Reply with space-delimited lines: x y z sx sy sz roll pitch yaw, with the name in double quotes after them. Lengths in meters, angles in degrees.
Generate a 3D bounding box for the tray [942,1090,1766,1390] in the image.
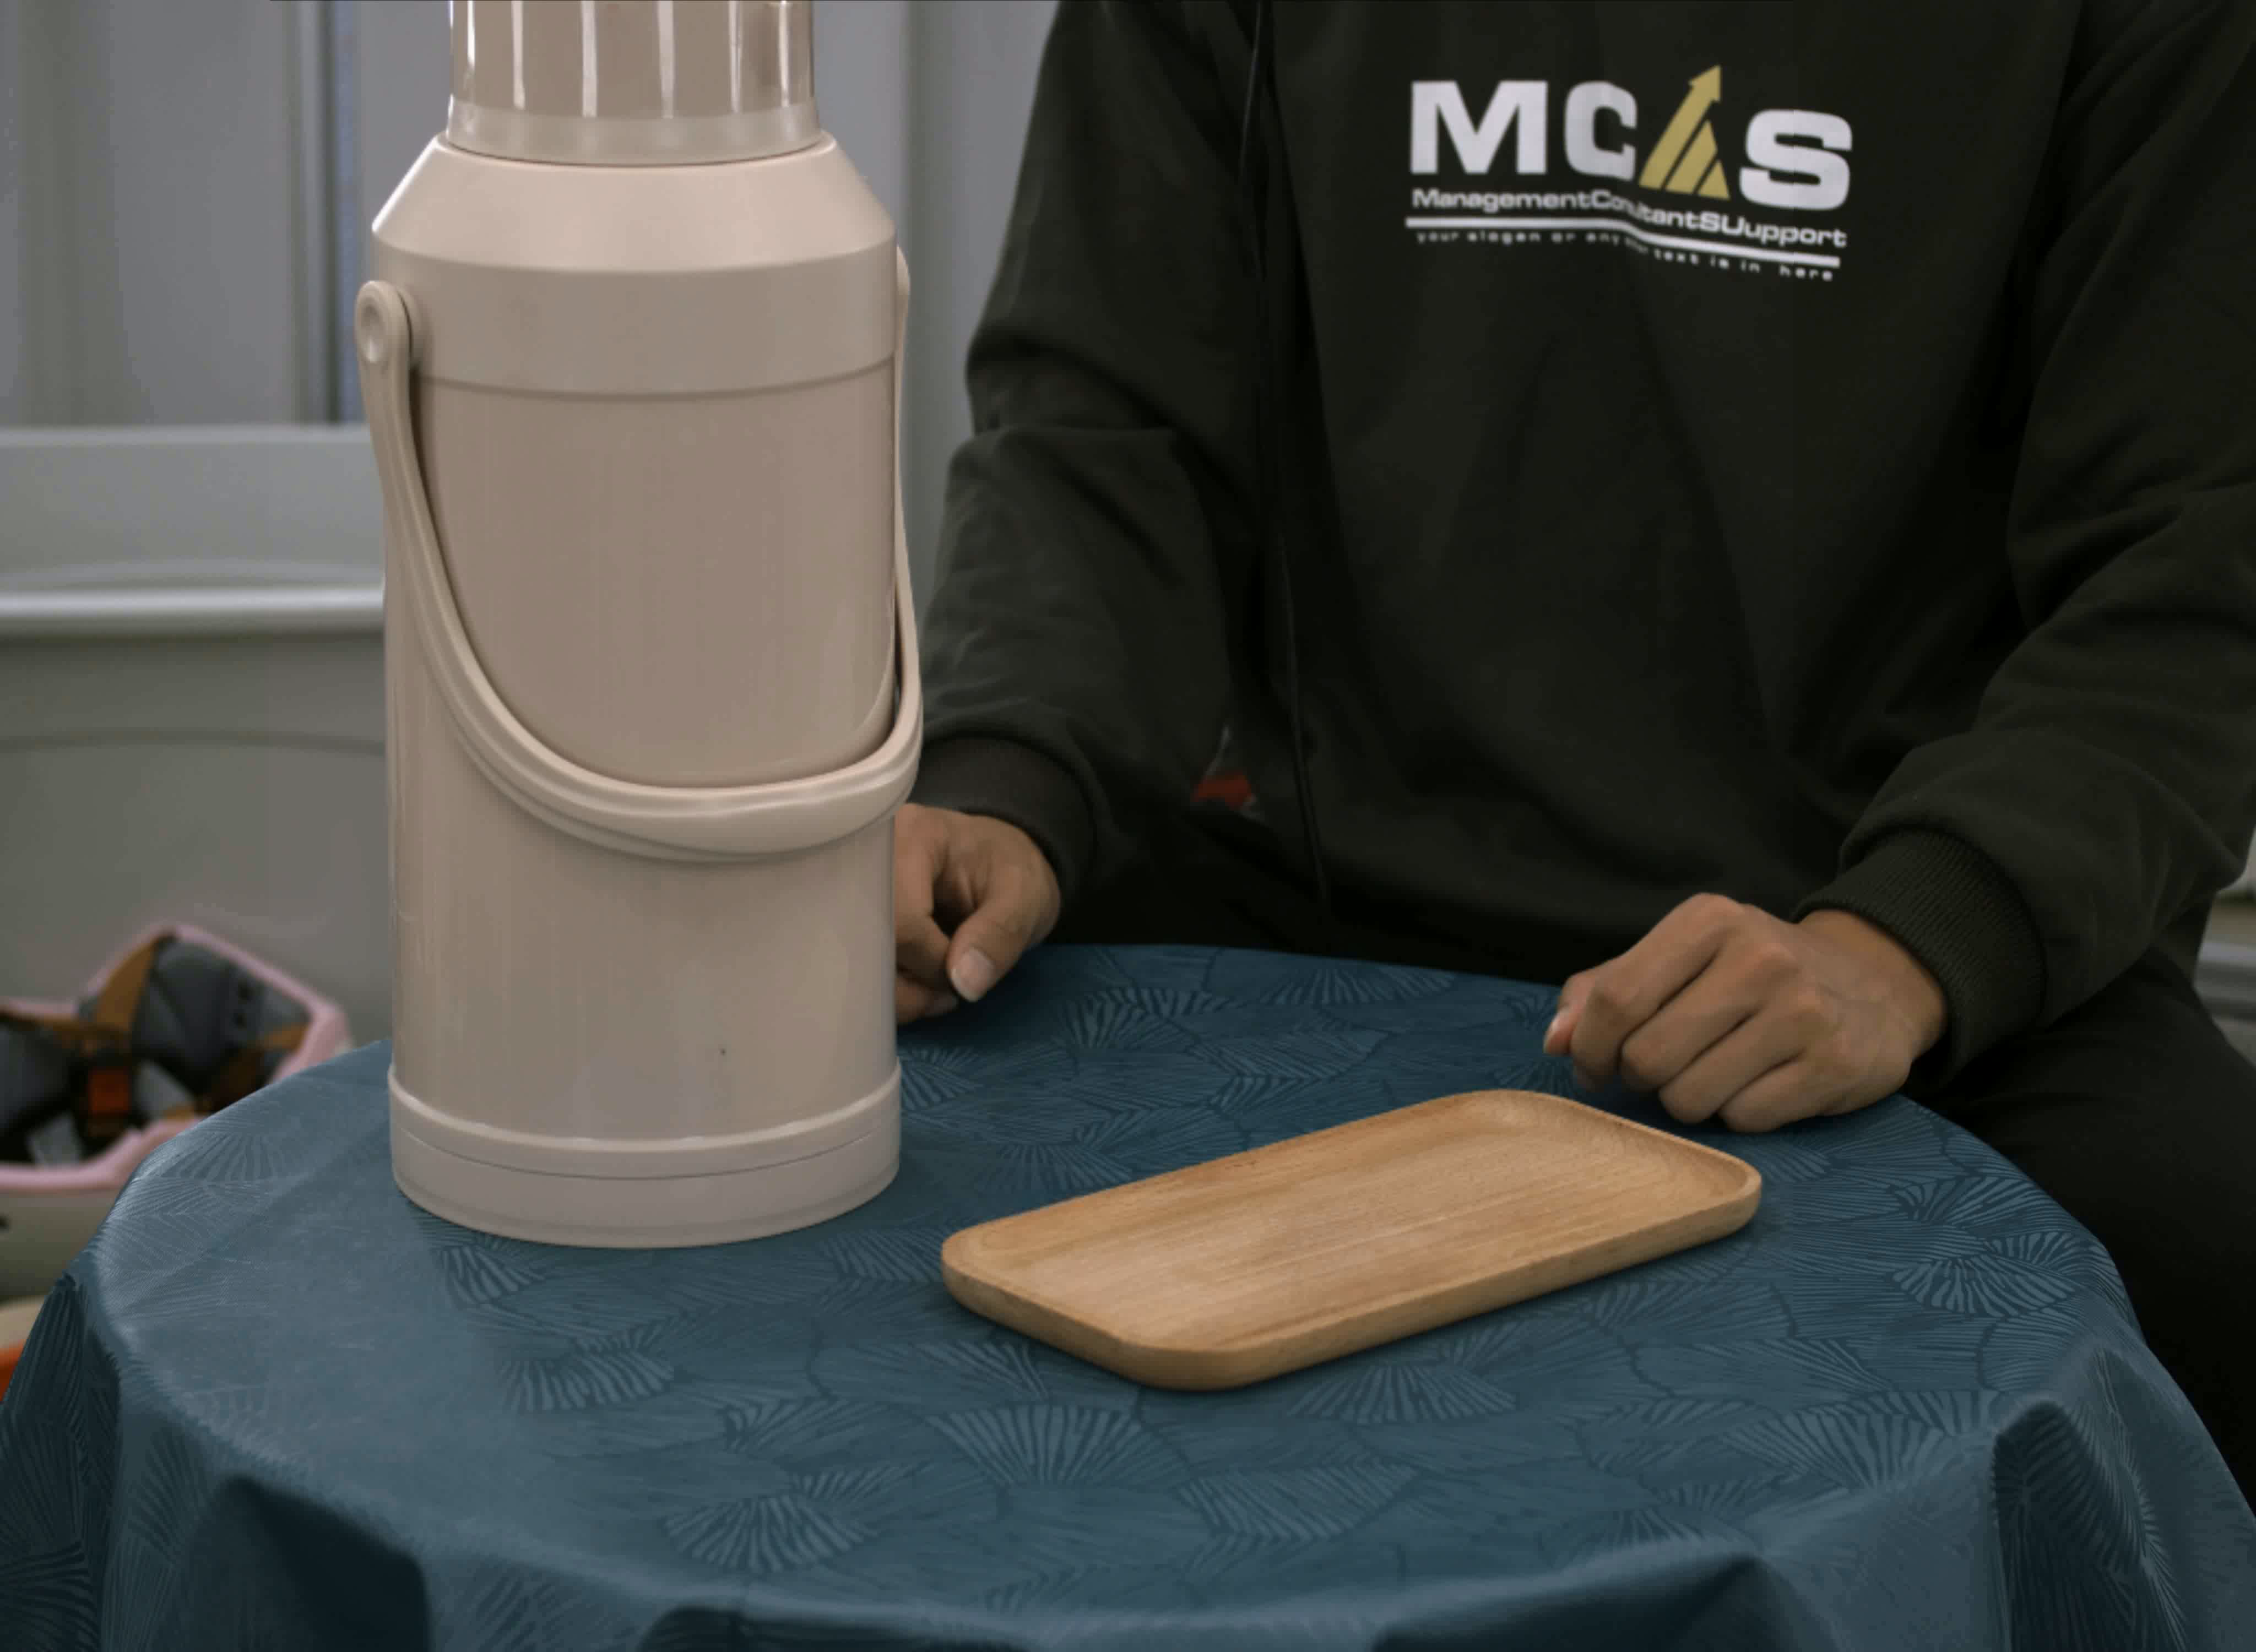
0.070 0.121 1.572 0.252 0.023 0.129 -11 22 -39 "tray"

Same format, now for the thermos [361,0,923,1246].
-0.152 -0.089 1.603 0.176 0.410 0.204 -11 20 -33 "thermos"
